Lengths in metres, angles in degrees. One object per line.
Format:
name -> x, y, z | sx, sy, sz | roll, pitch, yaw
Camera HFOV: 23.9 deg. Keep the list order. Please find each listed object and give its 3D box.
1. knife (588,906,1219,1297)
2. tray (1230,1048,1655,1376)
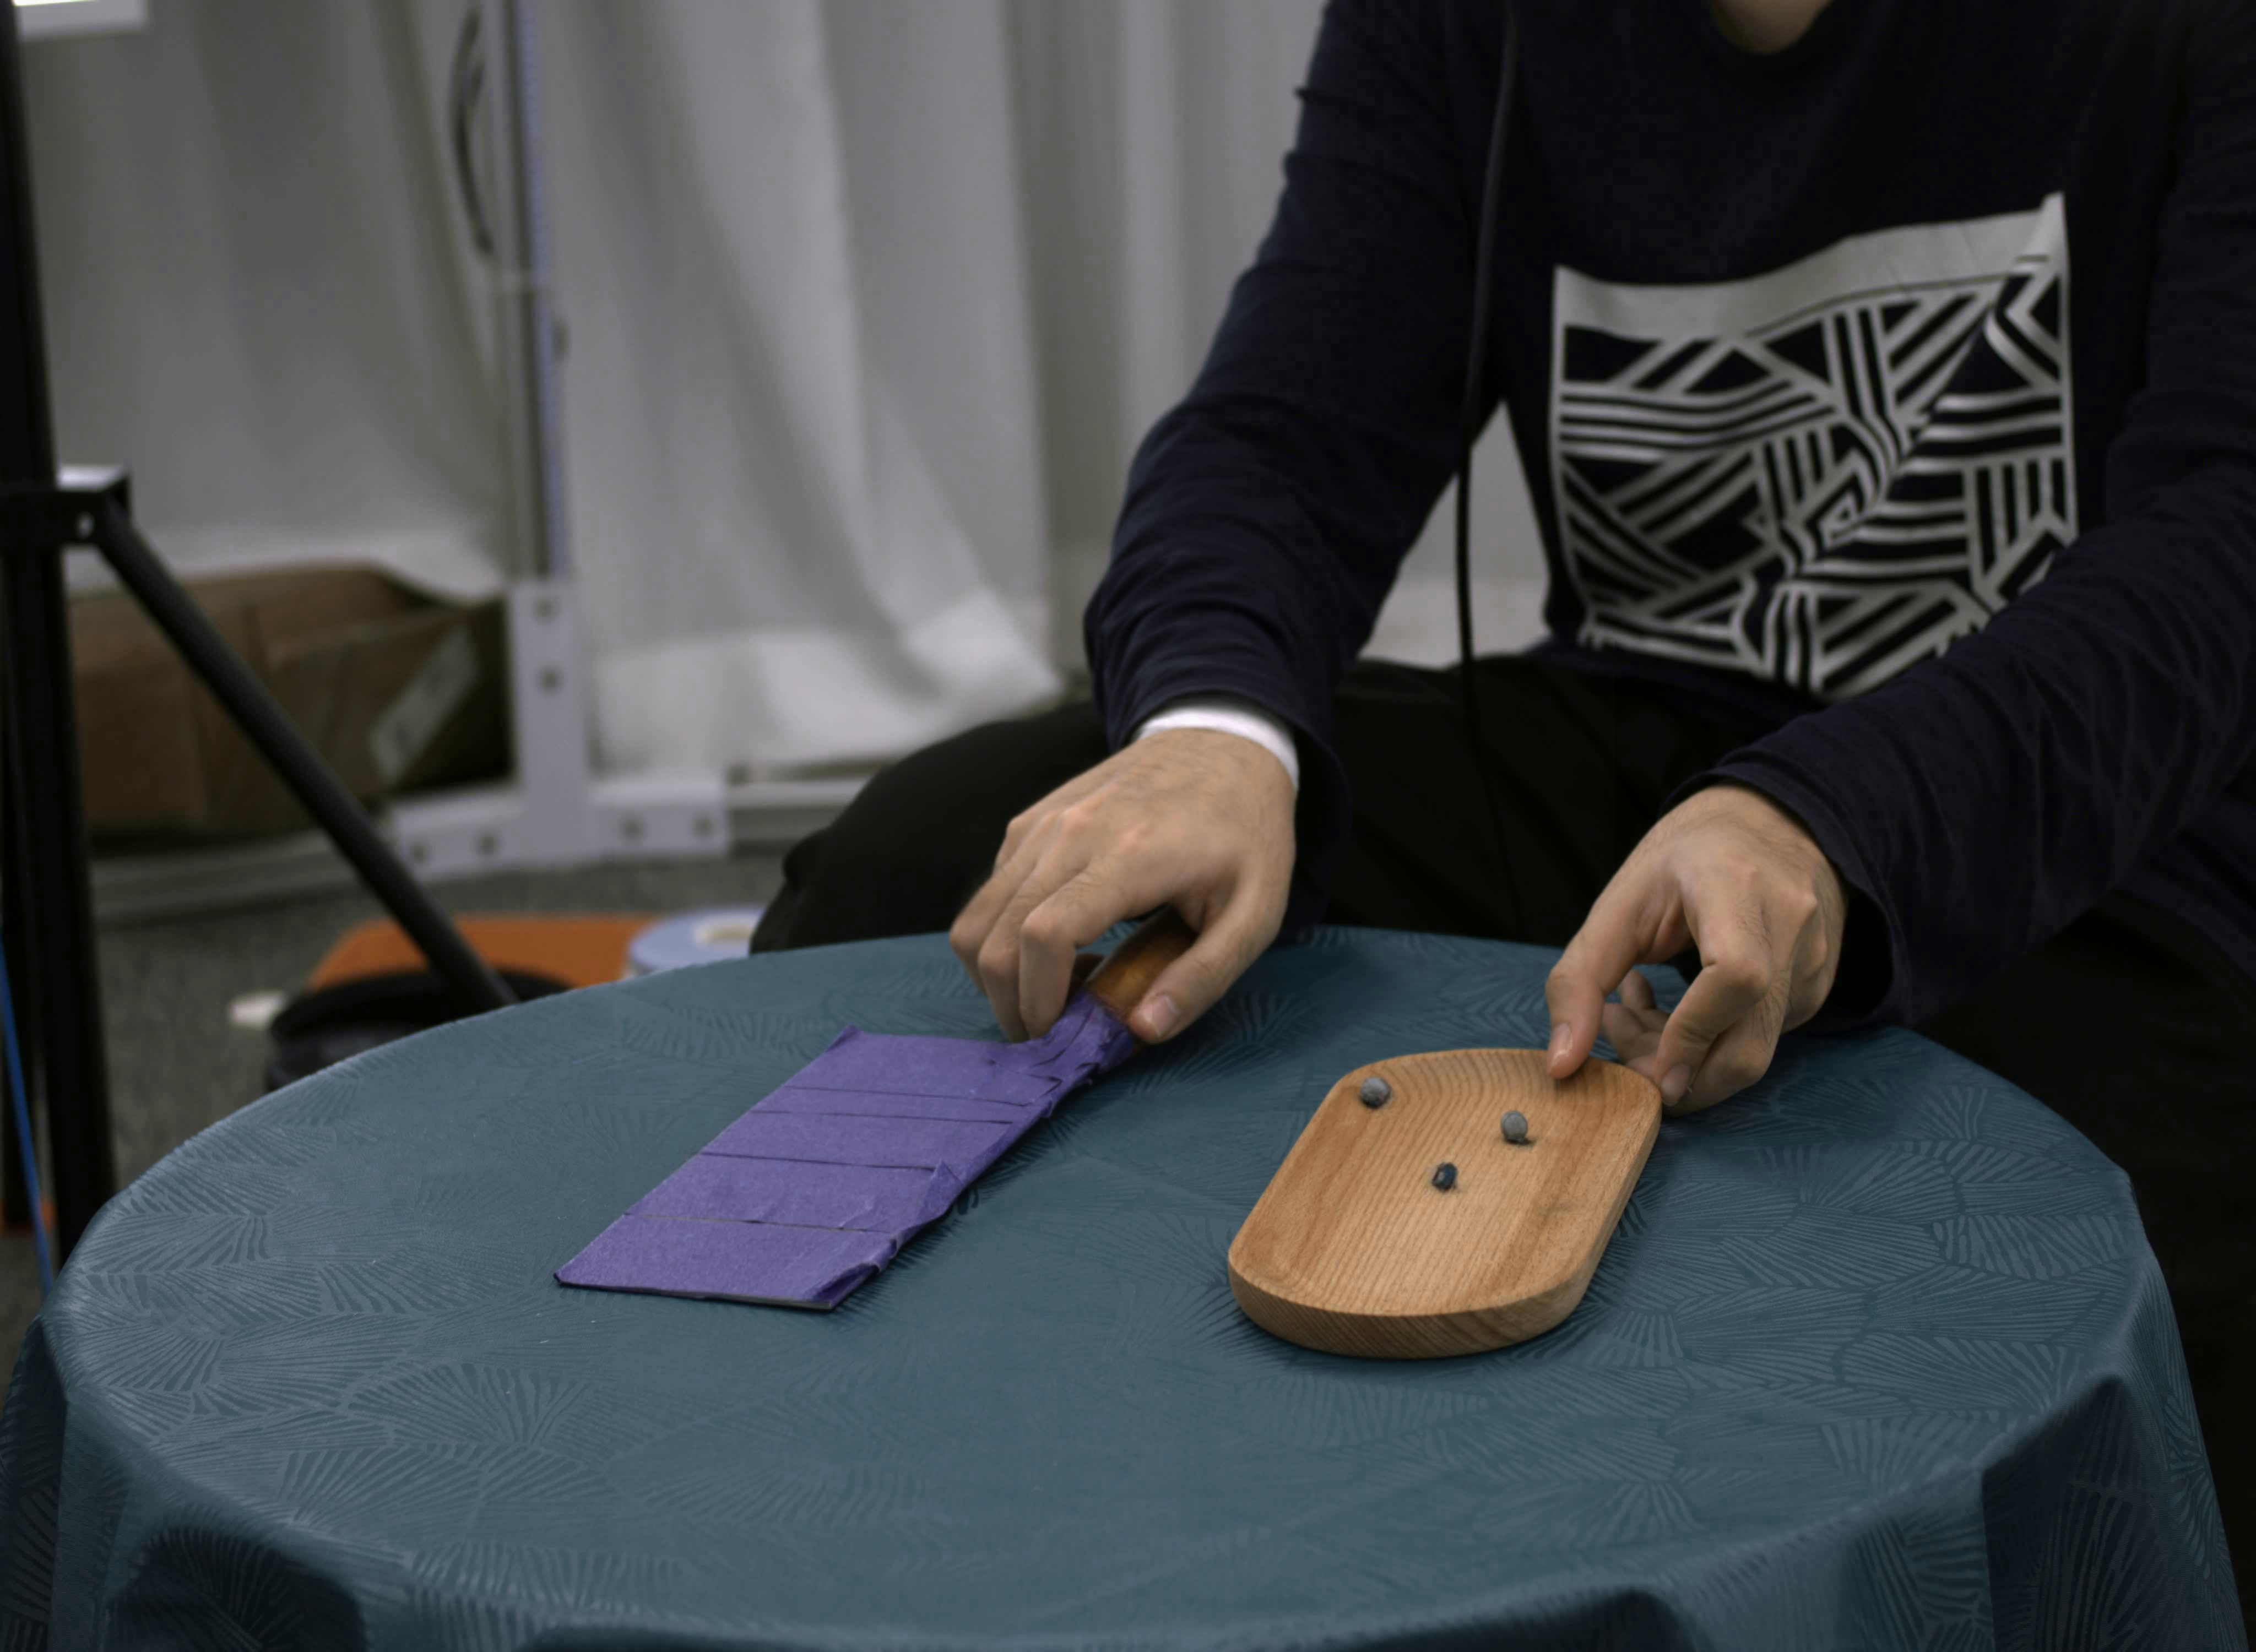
knife -> -0.065, 0.080, 1.622 | 0.105, 0.032, 0.311 | 4, 17, 21
tray -> 0.093, 0.108, 1.519 | 0.102, 0.020, 0.230 | 0, 18, 13
